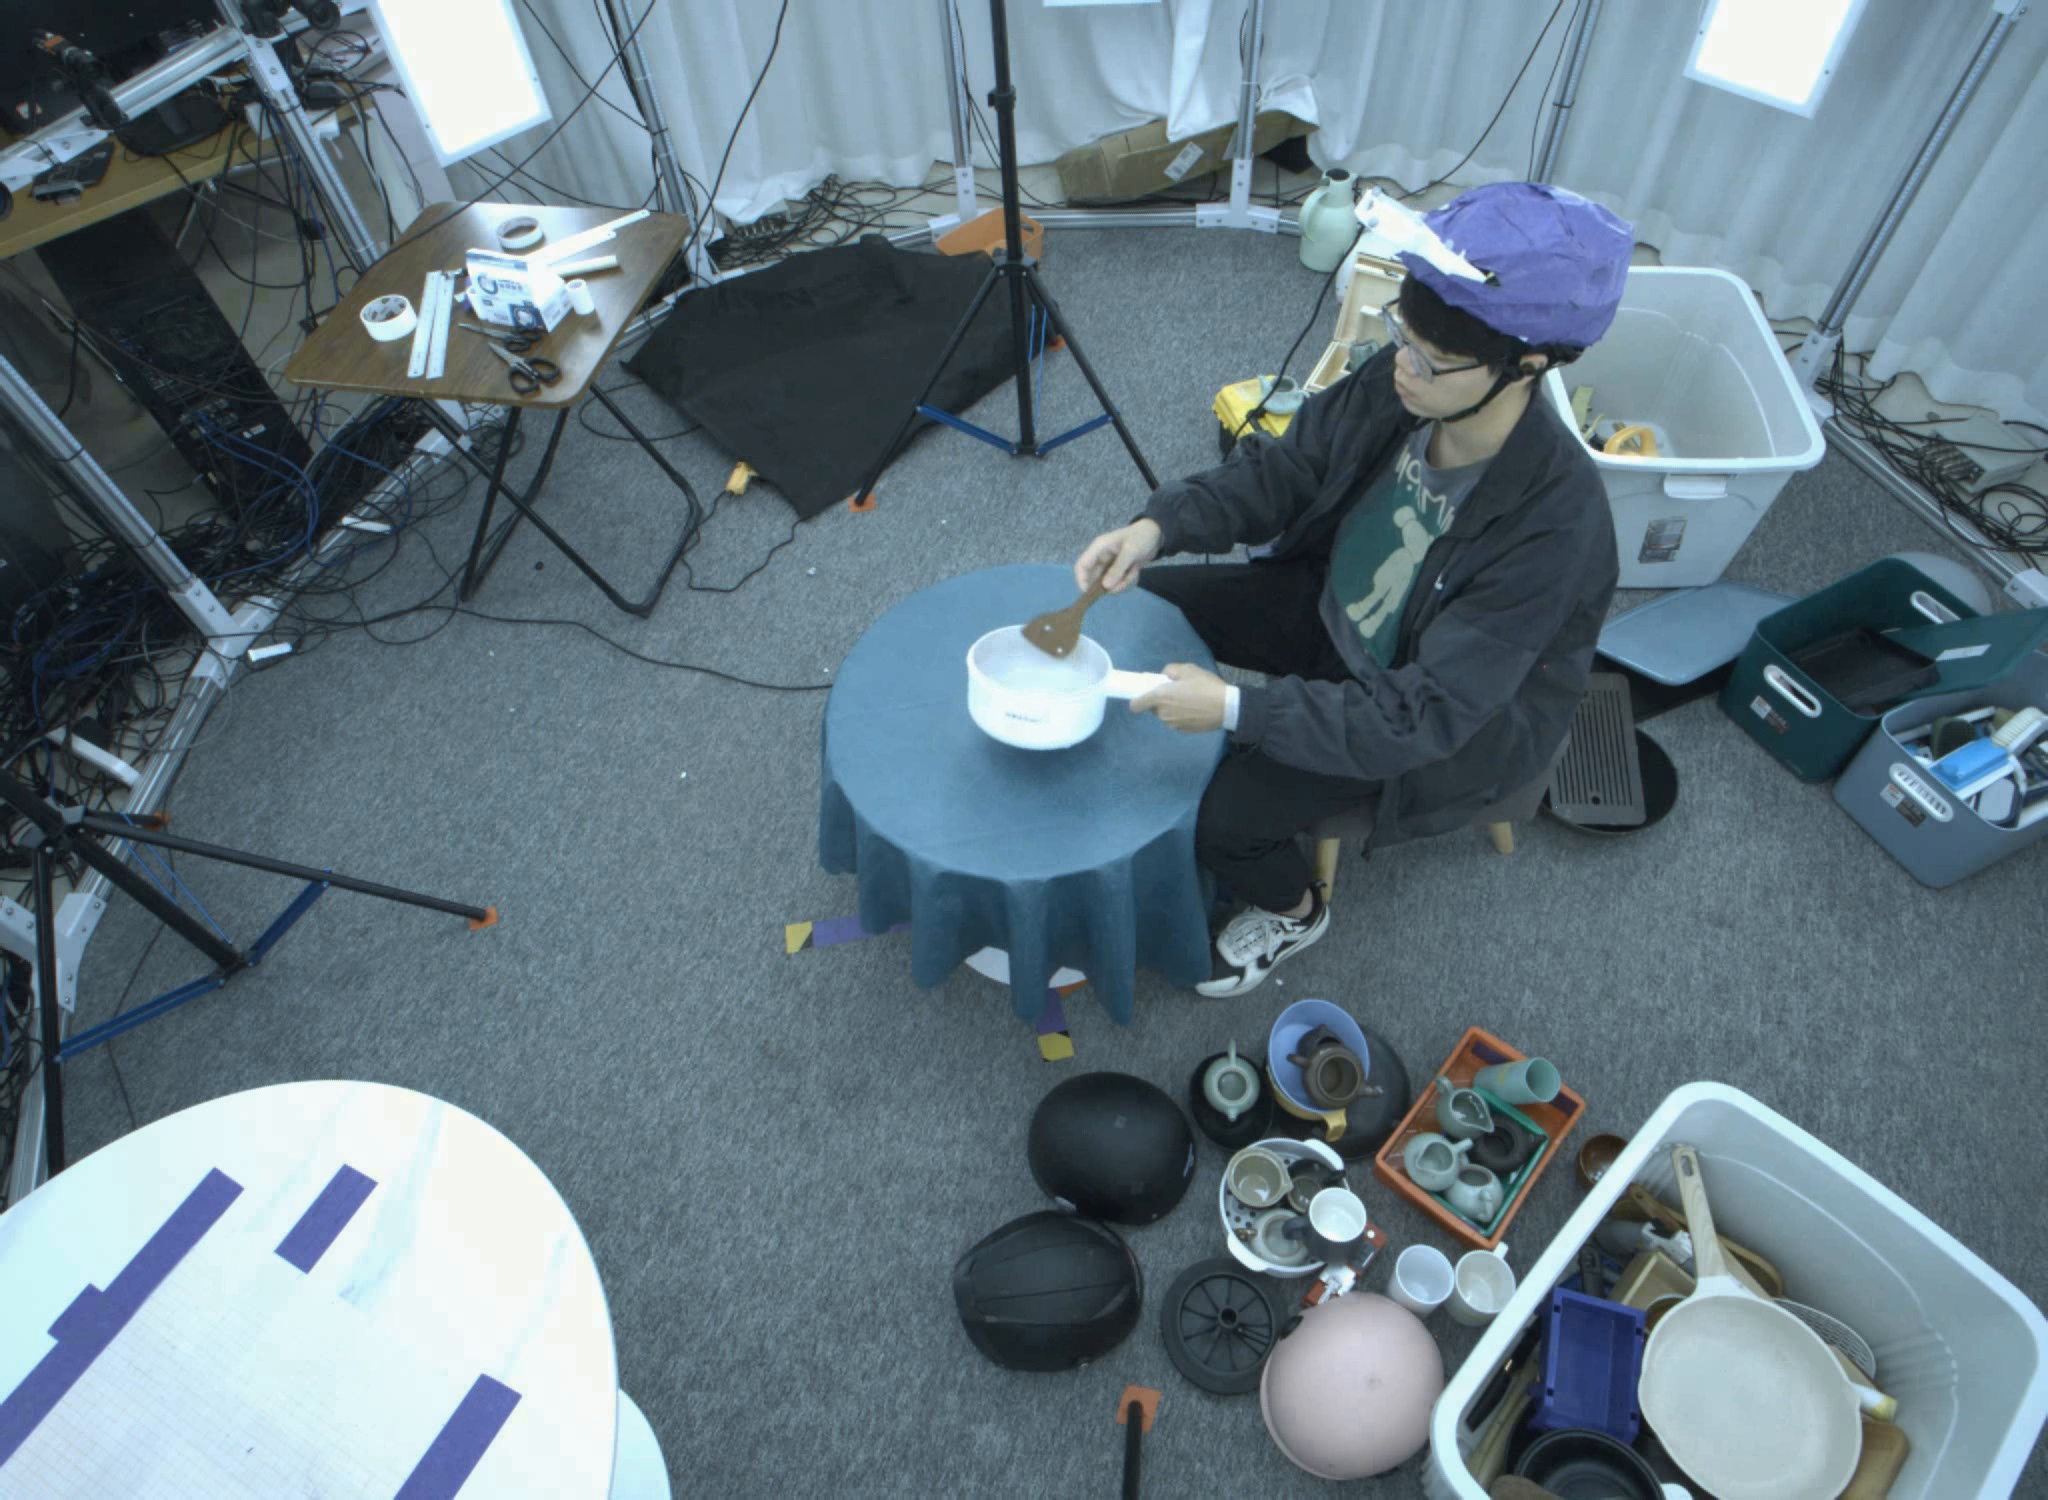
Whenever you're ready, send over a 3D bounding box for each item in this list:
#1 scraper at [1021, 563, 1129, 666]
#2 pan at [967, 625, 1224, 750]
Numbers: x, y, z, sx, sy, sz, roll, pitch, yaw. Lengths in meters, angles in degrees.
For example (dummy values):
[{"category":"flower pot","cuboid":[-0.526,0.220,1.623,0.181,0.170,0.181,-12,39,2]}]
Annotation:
[{"category":"scraper","cuboid":[0.080,-0.193,1.690,0.075,0.011,0.212,36,59,10]},{"category":"pan","cuboid":[0.094,-0.070,1.708,0.354,0.103,0.200,10,34,2]}]
